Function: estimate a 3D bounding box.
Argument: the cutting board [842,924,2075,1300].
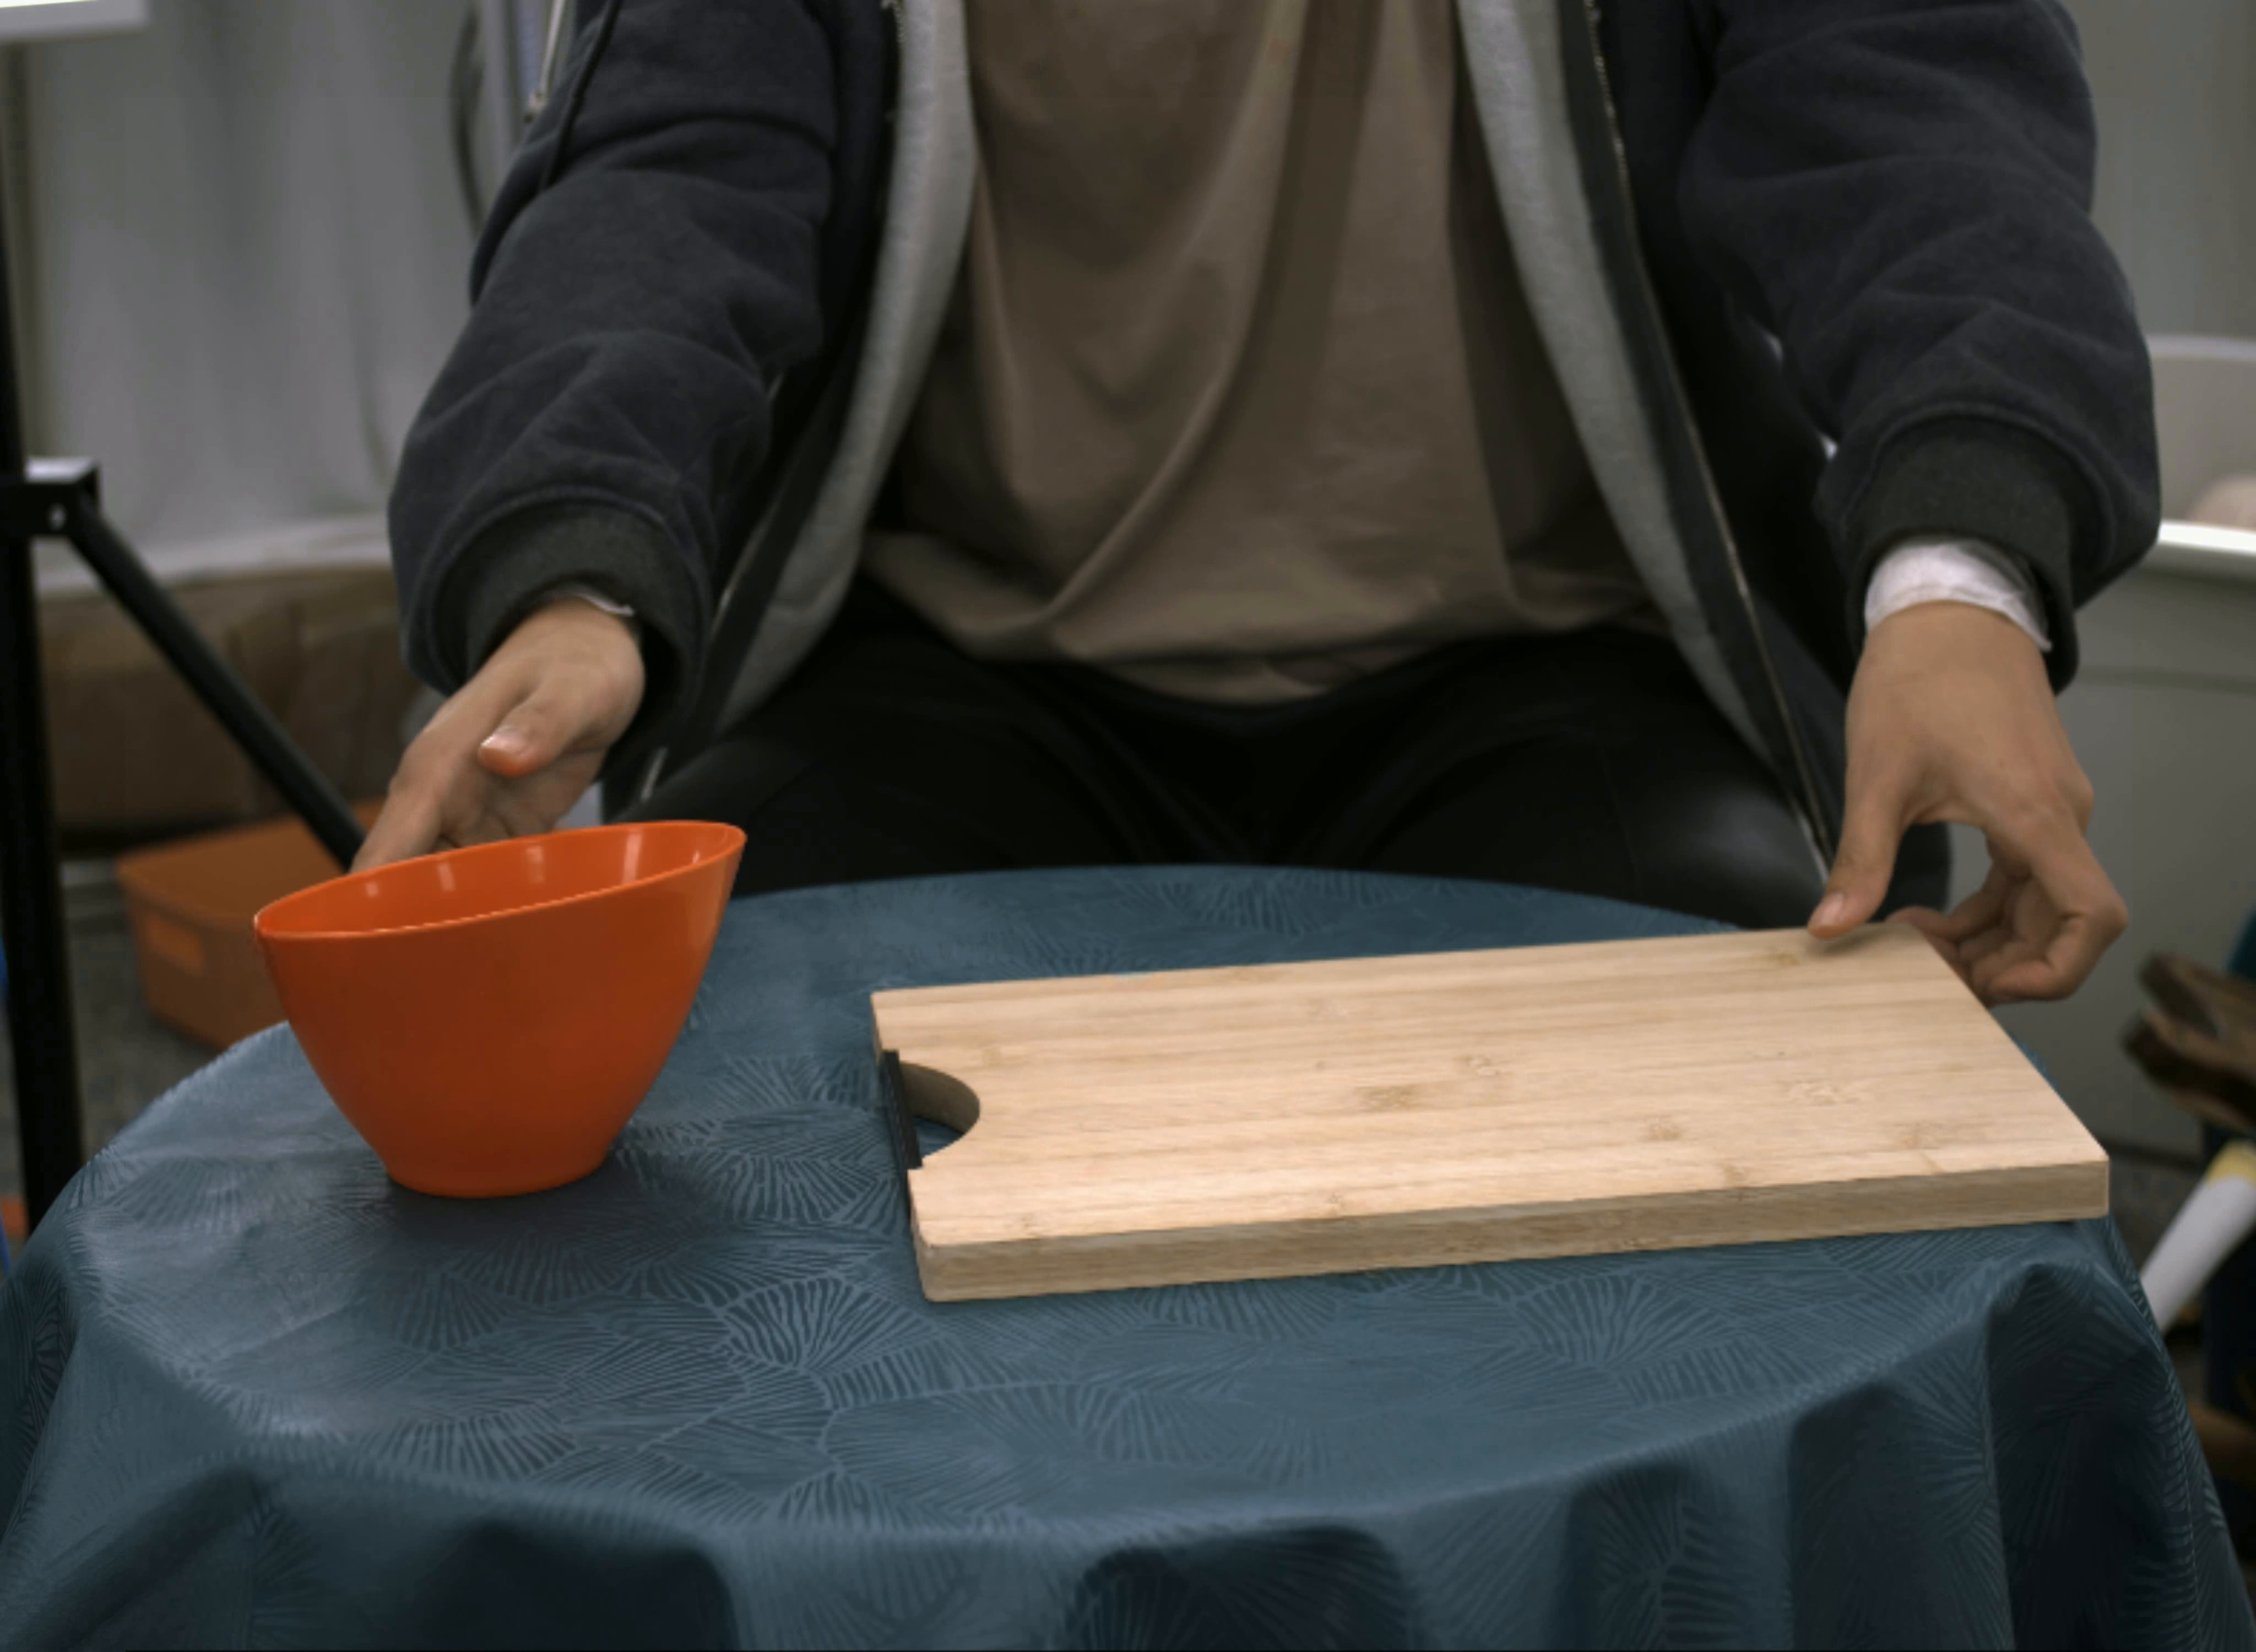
[{"bbox_3d":[0.092,0.084,1.602,0.346,0.023,0.253,-4,15,-4],"label":"cutting board"}]

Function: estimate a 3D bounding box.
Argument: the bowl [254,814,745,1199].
[{"bbox_3d":[-0.185,0.054,1.594,0.147,0.104,0.149,-4,17,0],"label":"bowl"}]
